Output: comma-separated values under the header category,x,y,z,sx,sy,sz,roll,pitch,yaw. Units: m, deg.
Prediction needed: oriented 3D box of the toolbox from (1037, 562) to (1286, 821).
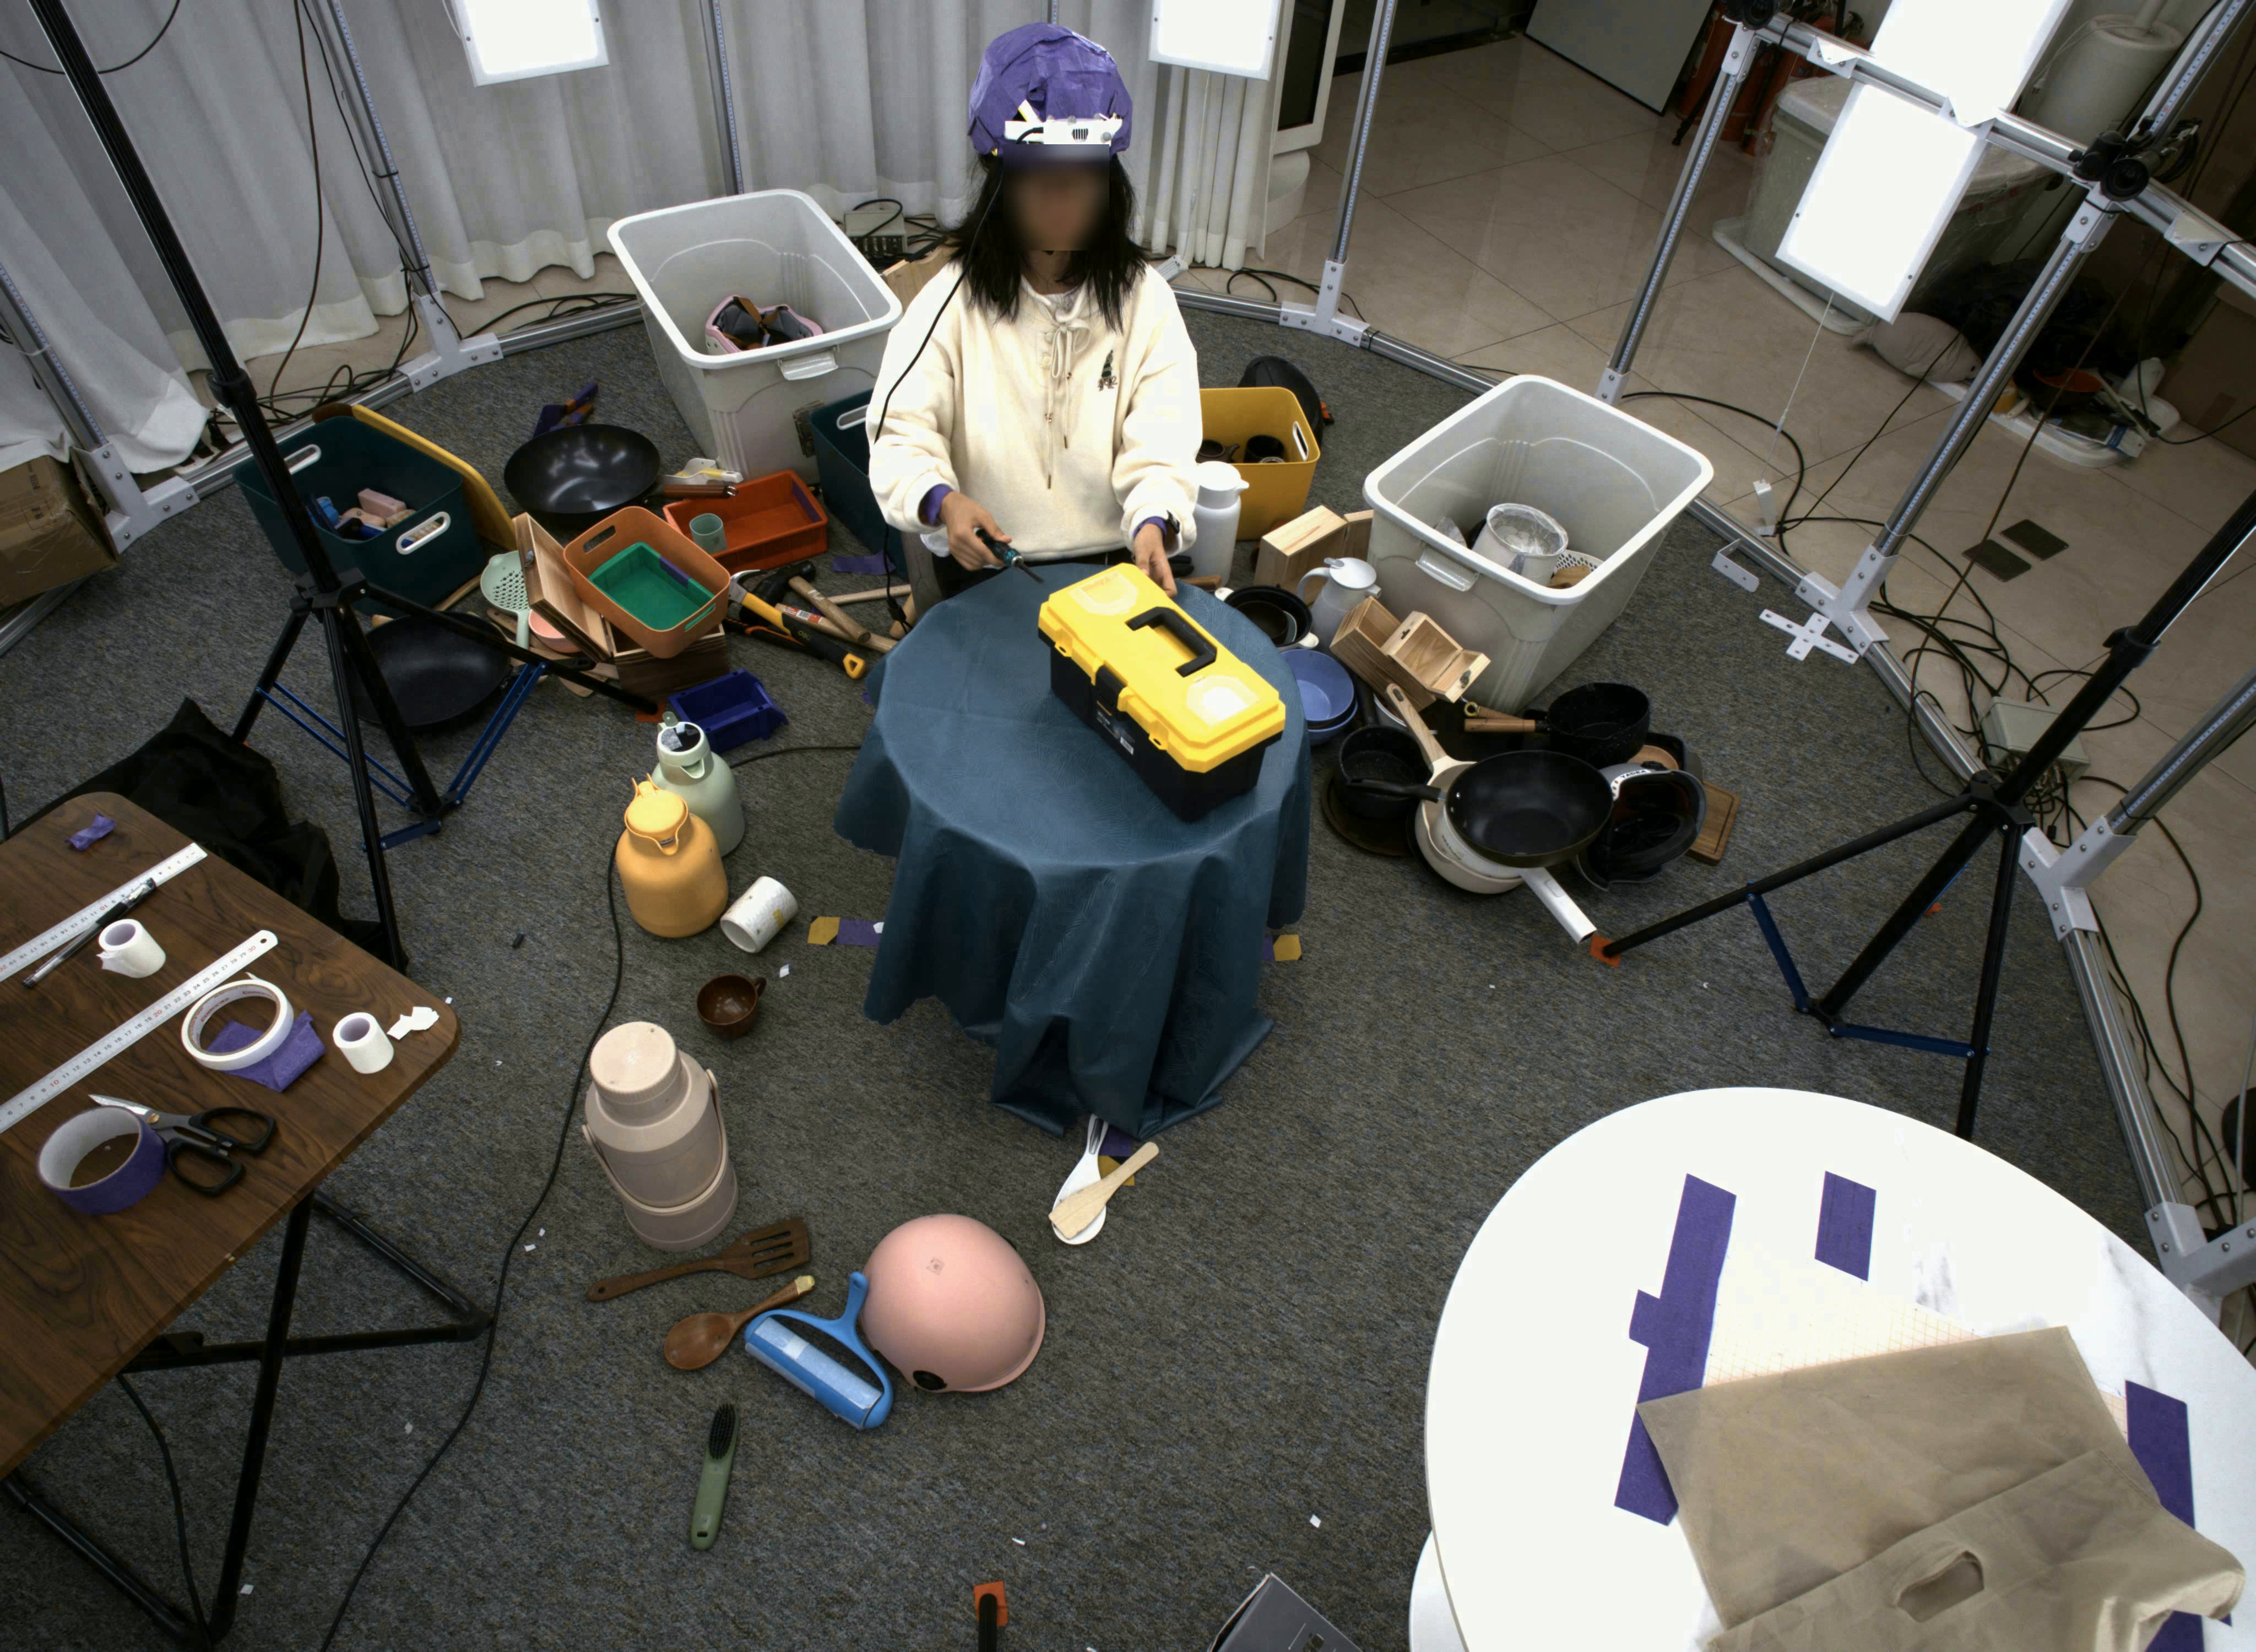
category,x,y,z,sx,sy,sz,roll,pitch,yaw
toolbox,0.037,-0.180,1.717,0.182,0.168,0.358,-27,56,-25

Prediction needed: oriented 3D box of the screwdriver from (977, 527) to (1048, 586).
category,x,y,z,sx,sy,sz,roll,pitch,yaw
screwdriver,-0.158,-0.372,1.792,0.034,0.033,0.194,-22,41,-22
